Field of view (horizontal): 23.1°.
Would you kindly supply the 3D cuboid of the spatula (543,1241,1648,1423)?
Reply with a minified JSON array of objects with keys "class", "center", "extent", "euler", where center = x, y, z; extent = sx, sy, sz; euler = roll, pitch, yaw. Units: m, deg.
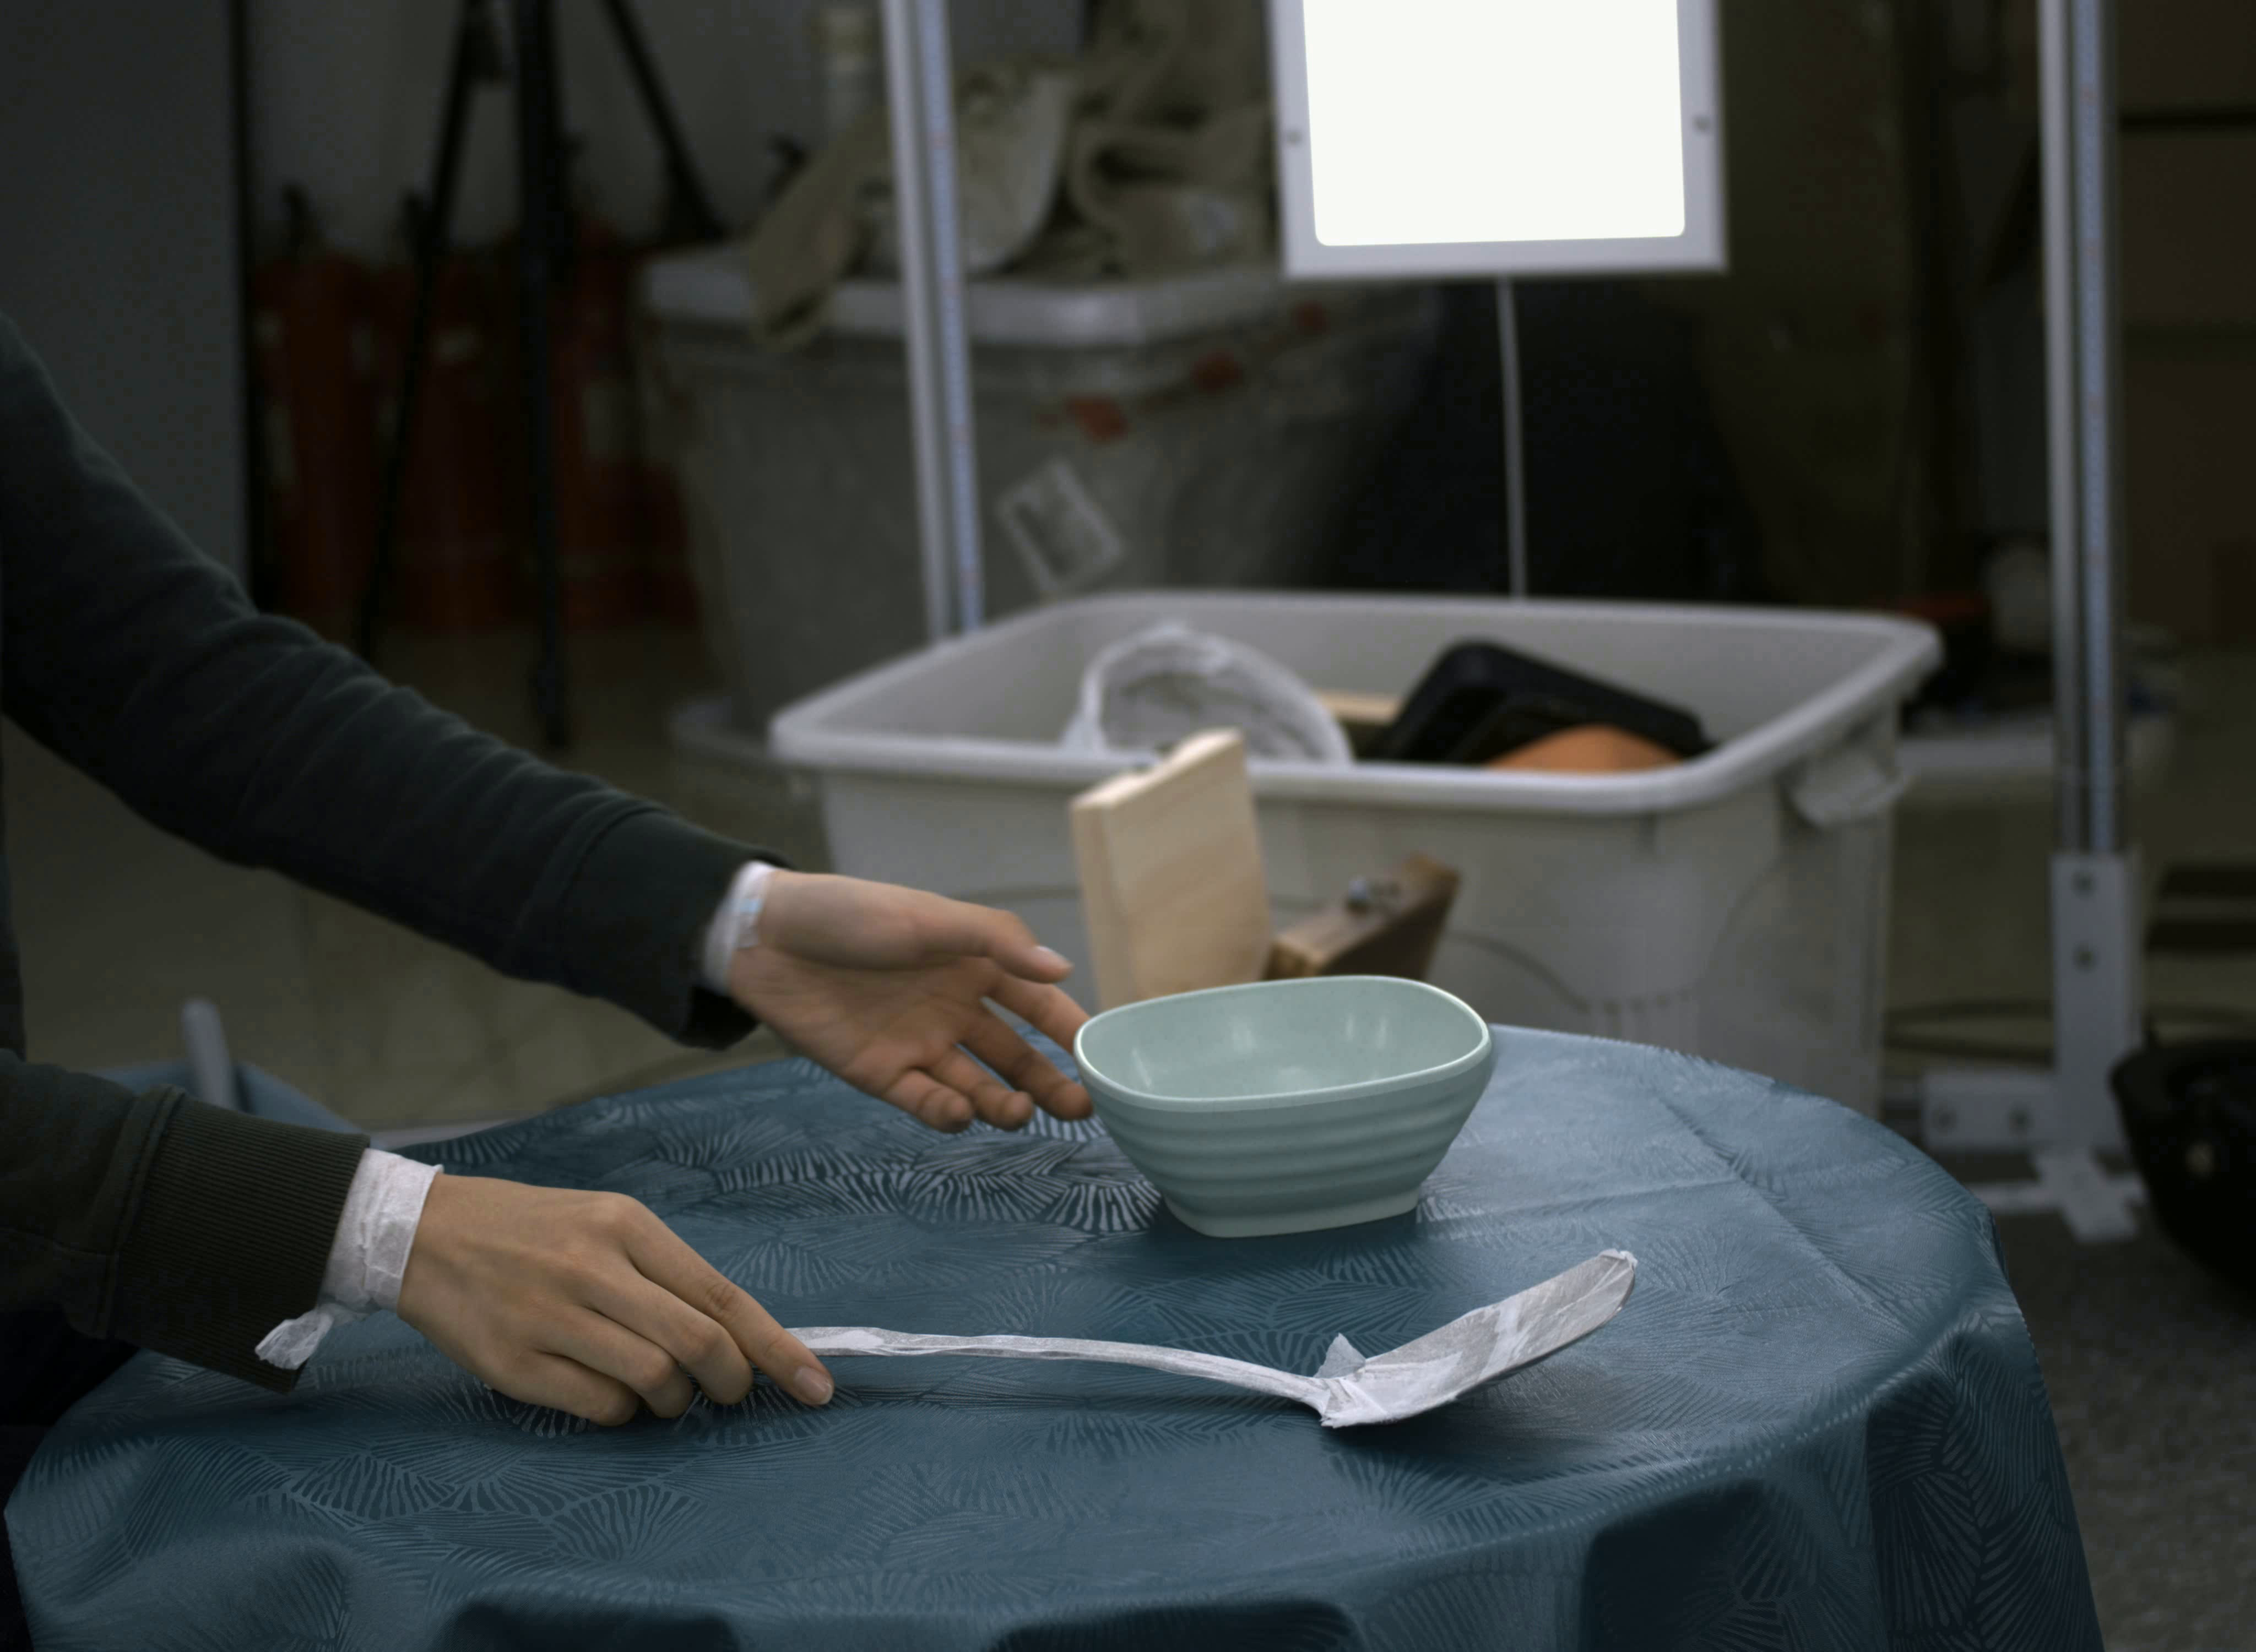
[{"class":"spatula","center":[-0.020,0.156,1.700],"extent":[0.369,0.045,0.097],"euler":[0,15,20]}]

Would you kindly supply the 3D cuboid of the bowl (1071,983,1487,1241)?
[{"class":"bowl","center":[0.052,0.100,1.873],"extent":[0.151,0.059,0.151],"euler":[-3,14,-1]}]
